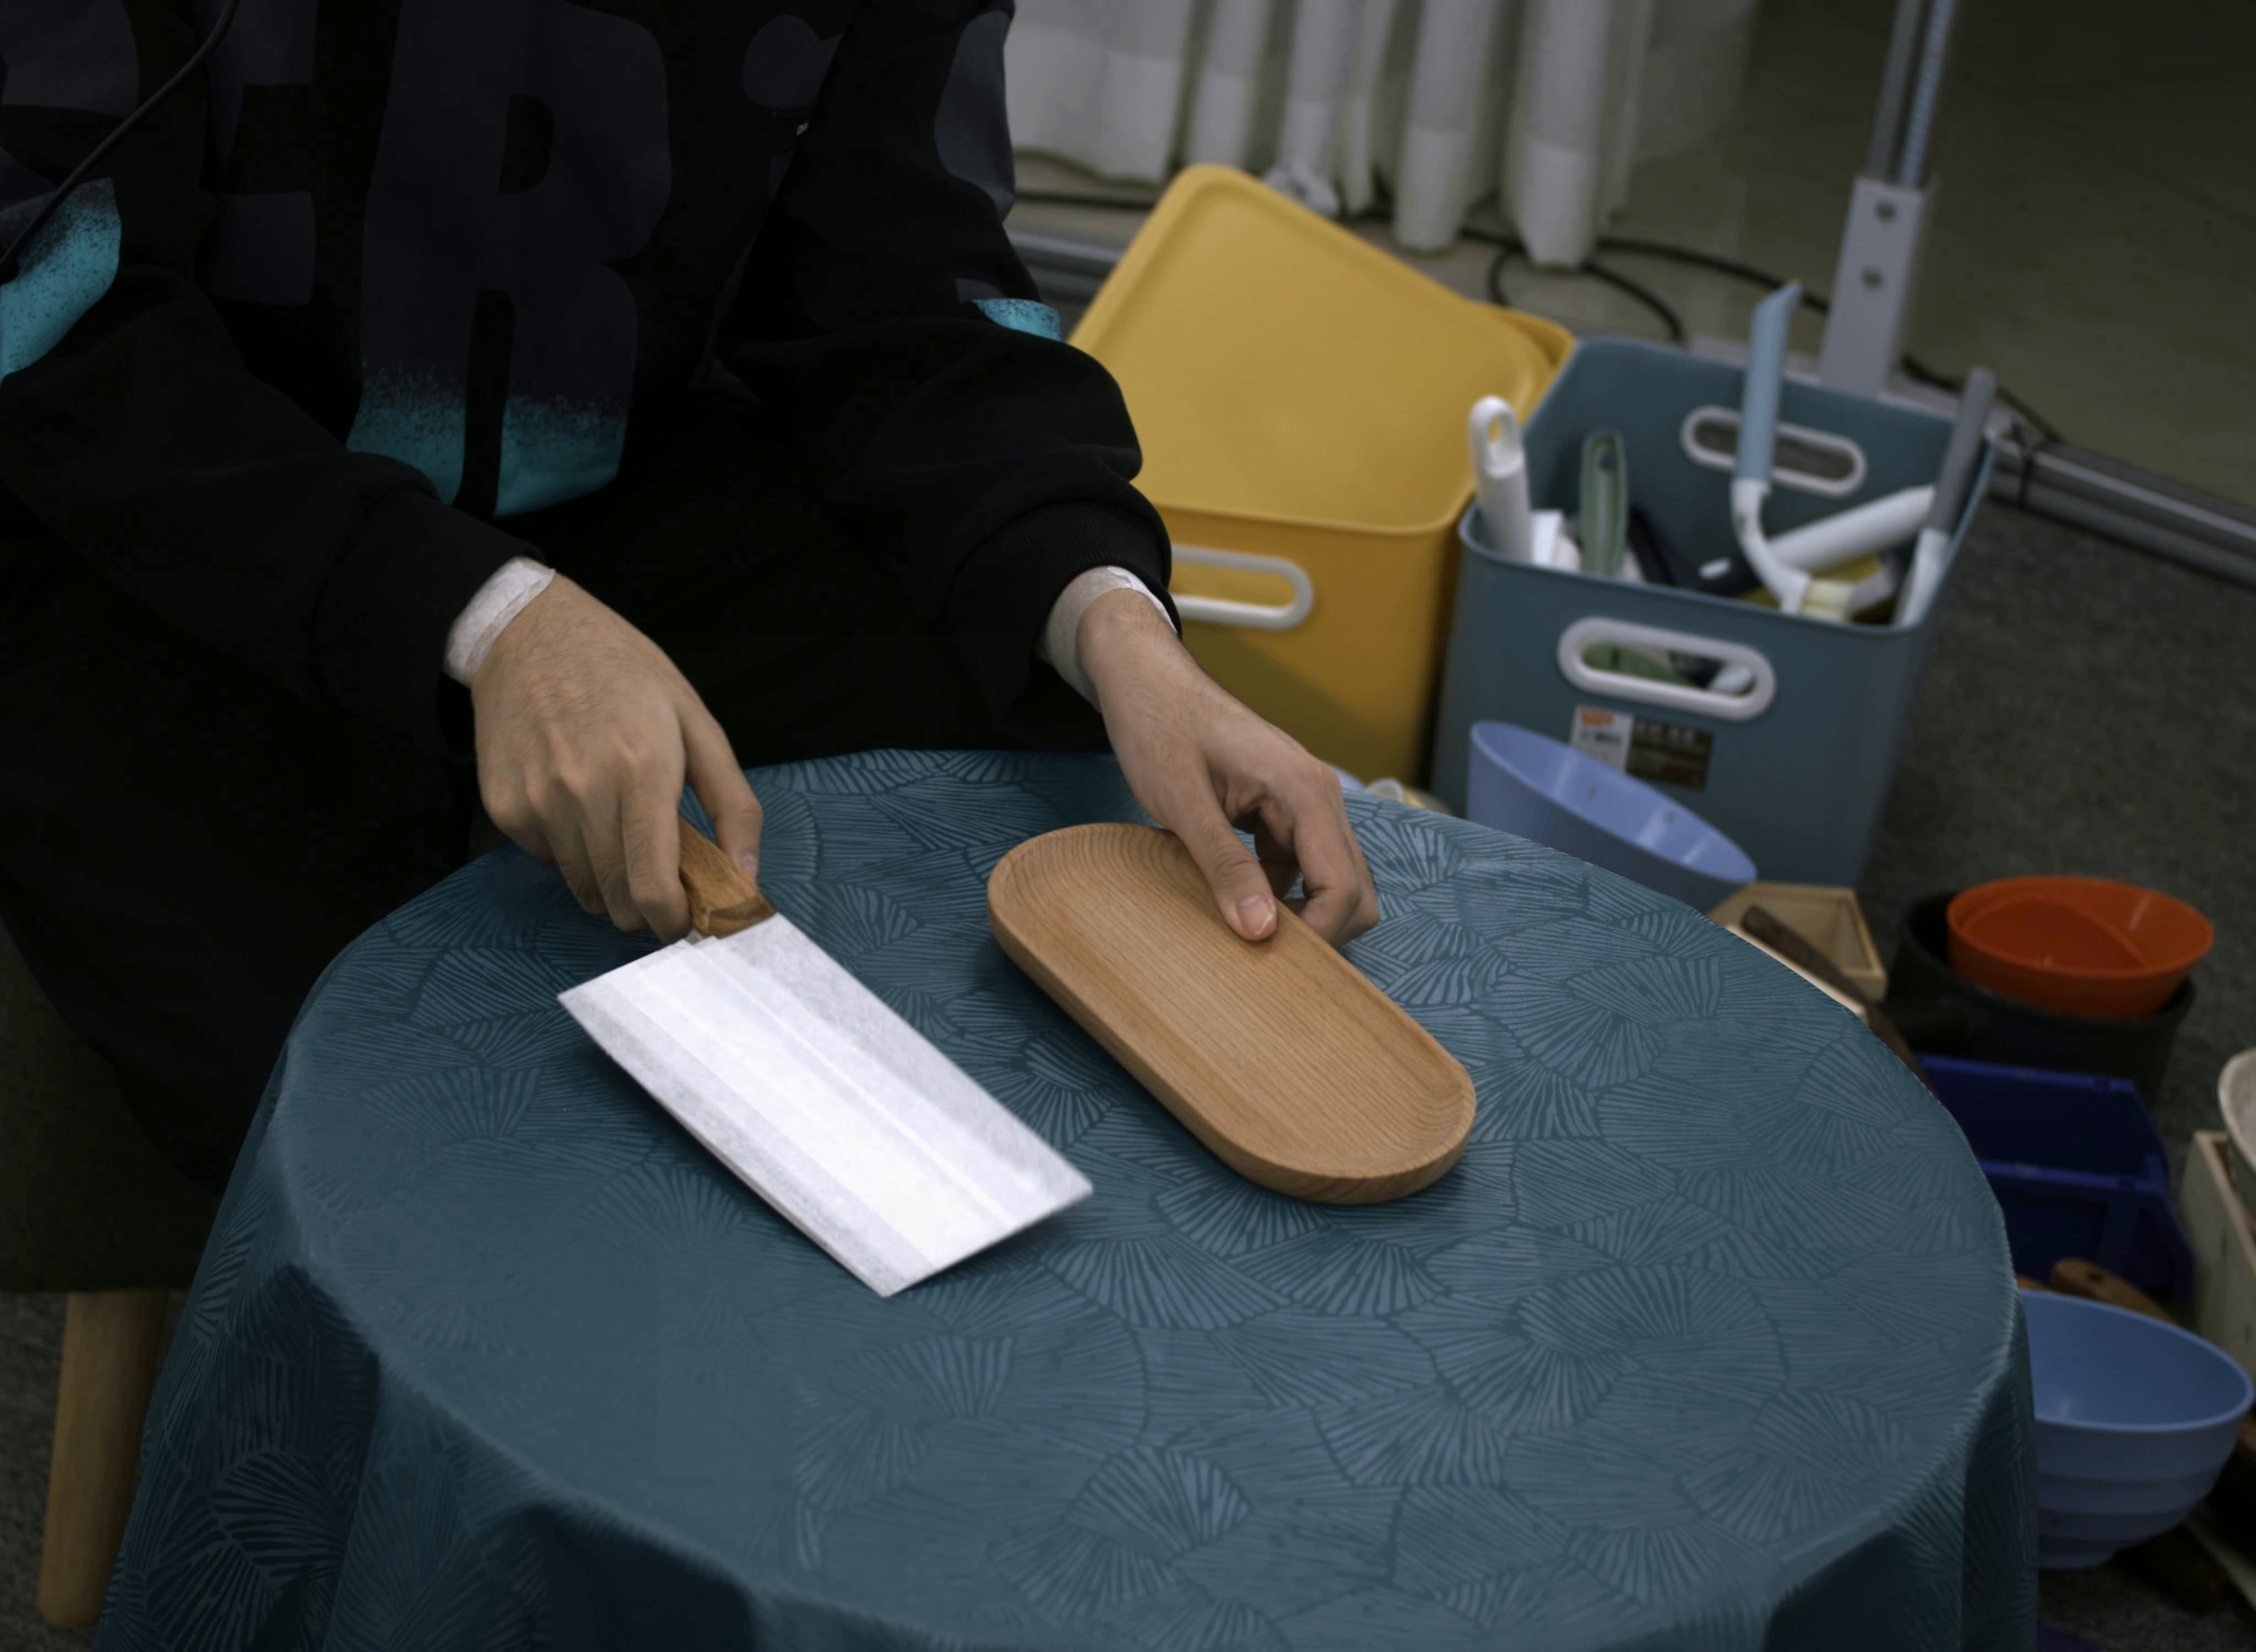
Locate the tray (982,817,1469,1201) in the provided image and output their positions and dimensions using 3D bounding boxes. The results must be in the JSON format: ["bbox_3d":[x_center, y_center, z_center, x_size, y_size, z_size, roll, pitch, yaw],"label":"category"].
[{"bbox_3d":[0.032,0.063,1.891,0.101,0.020,0.233,-15,37,-29],"label":"tray"}]

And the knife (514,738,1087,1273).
[{"bbox_3d":[-0.138,0.062,1.843,0.092,0.021,0.308,-23,45,-32],"label":"knife"}]
